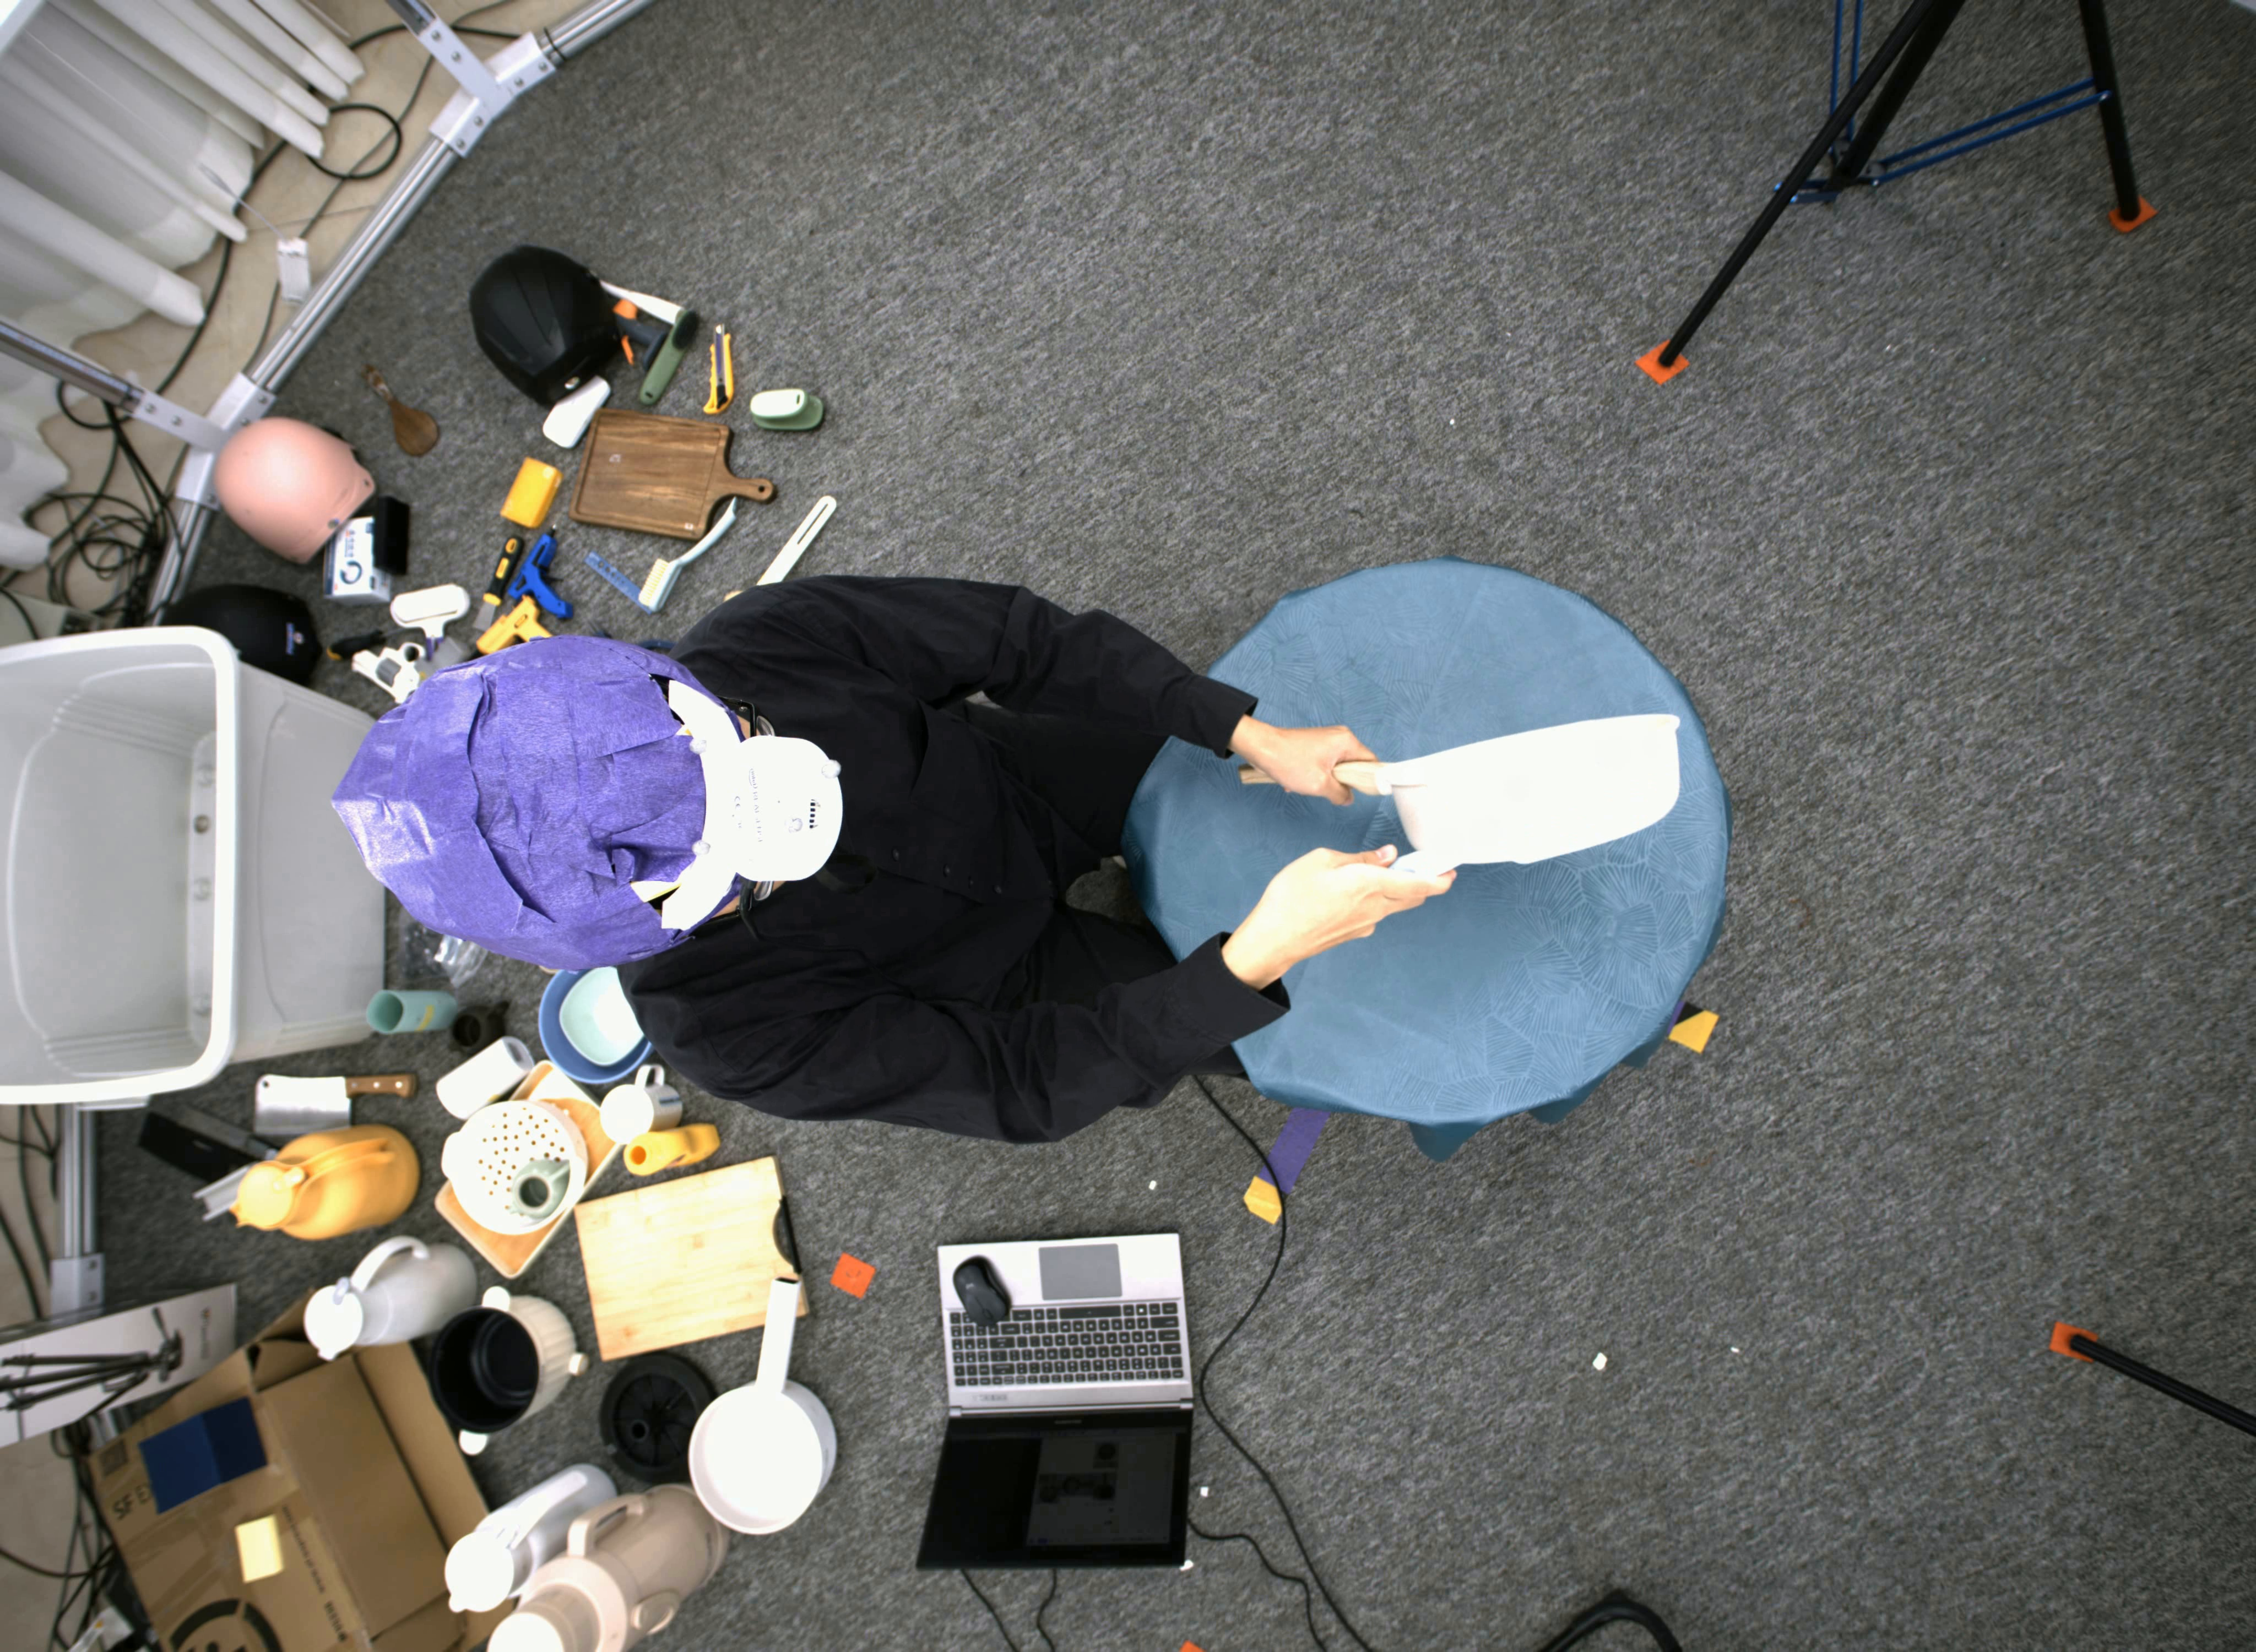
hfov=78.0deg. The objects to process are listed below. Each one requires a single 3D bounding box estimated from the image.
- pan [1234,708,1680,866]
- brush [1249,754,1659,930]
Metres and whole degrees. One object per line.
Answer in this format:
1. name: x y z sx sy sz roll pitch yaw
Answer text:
1. pan: 0.285 -0.031 1.254 0.439 0.259 0.102 -8 101 43
2. brush: 0.247 0.009 1.073 0.329 0.085 0.081 -19 65 23
